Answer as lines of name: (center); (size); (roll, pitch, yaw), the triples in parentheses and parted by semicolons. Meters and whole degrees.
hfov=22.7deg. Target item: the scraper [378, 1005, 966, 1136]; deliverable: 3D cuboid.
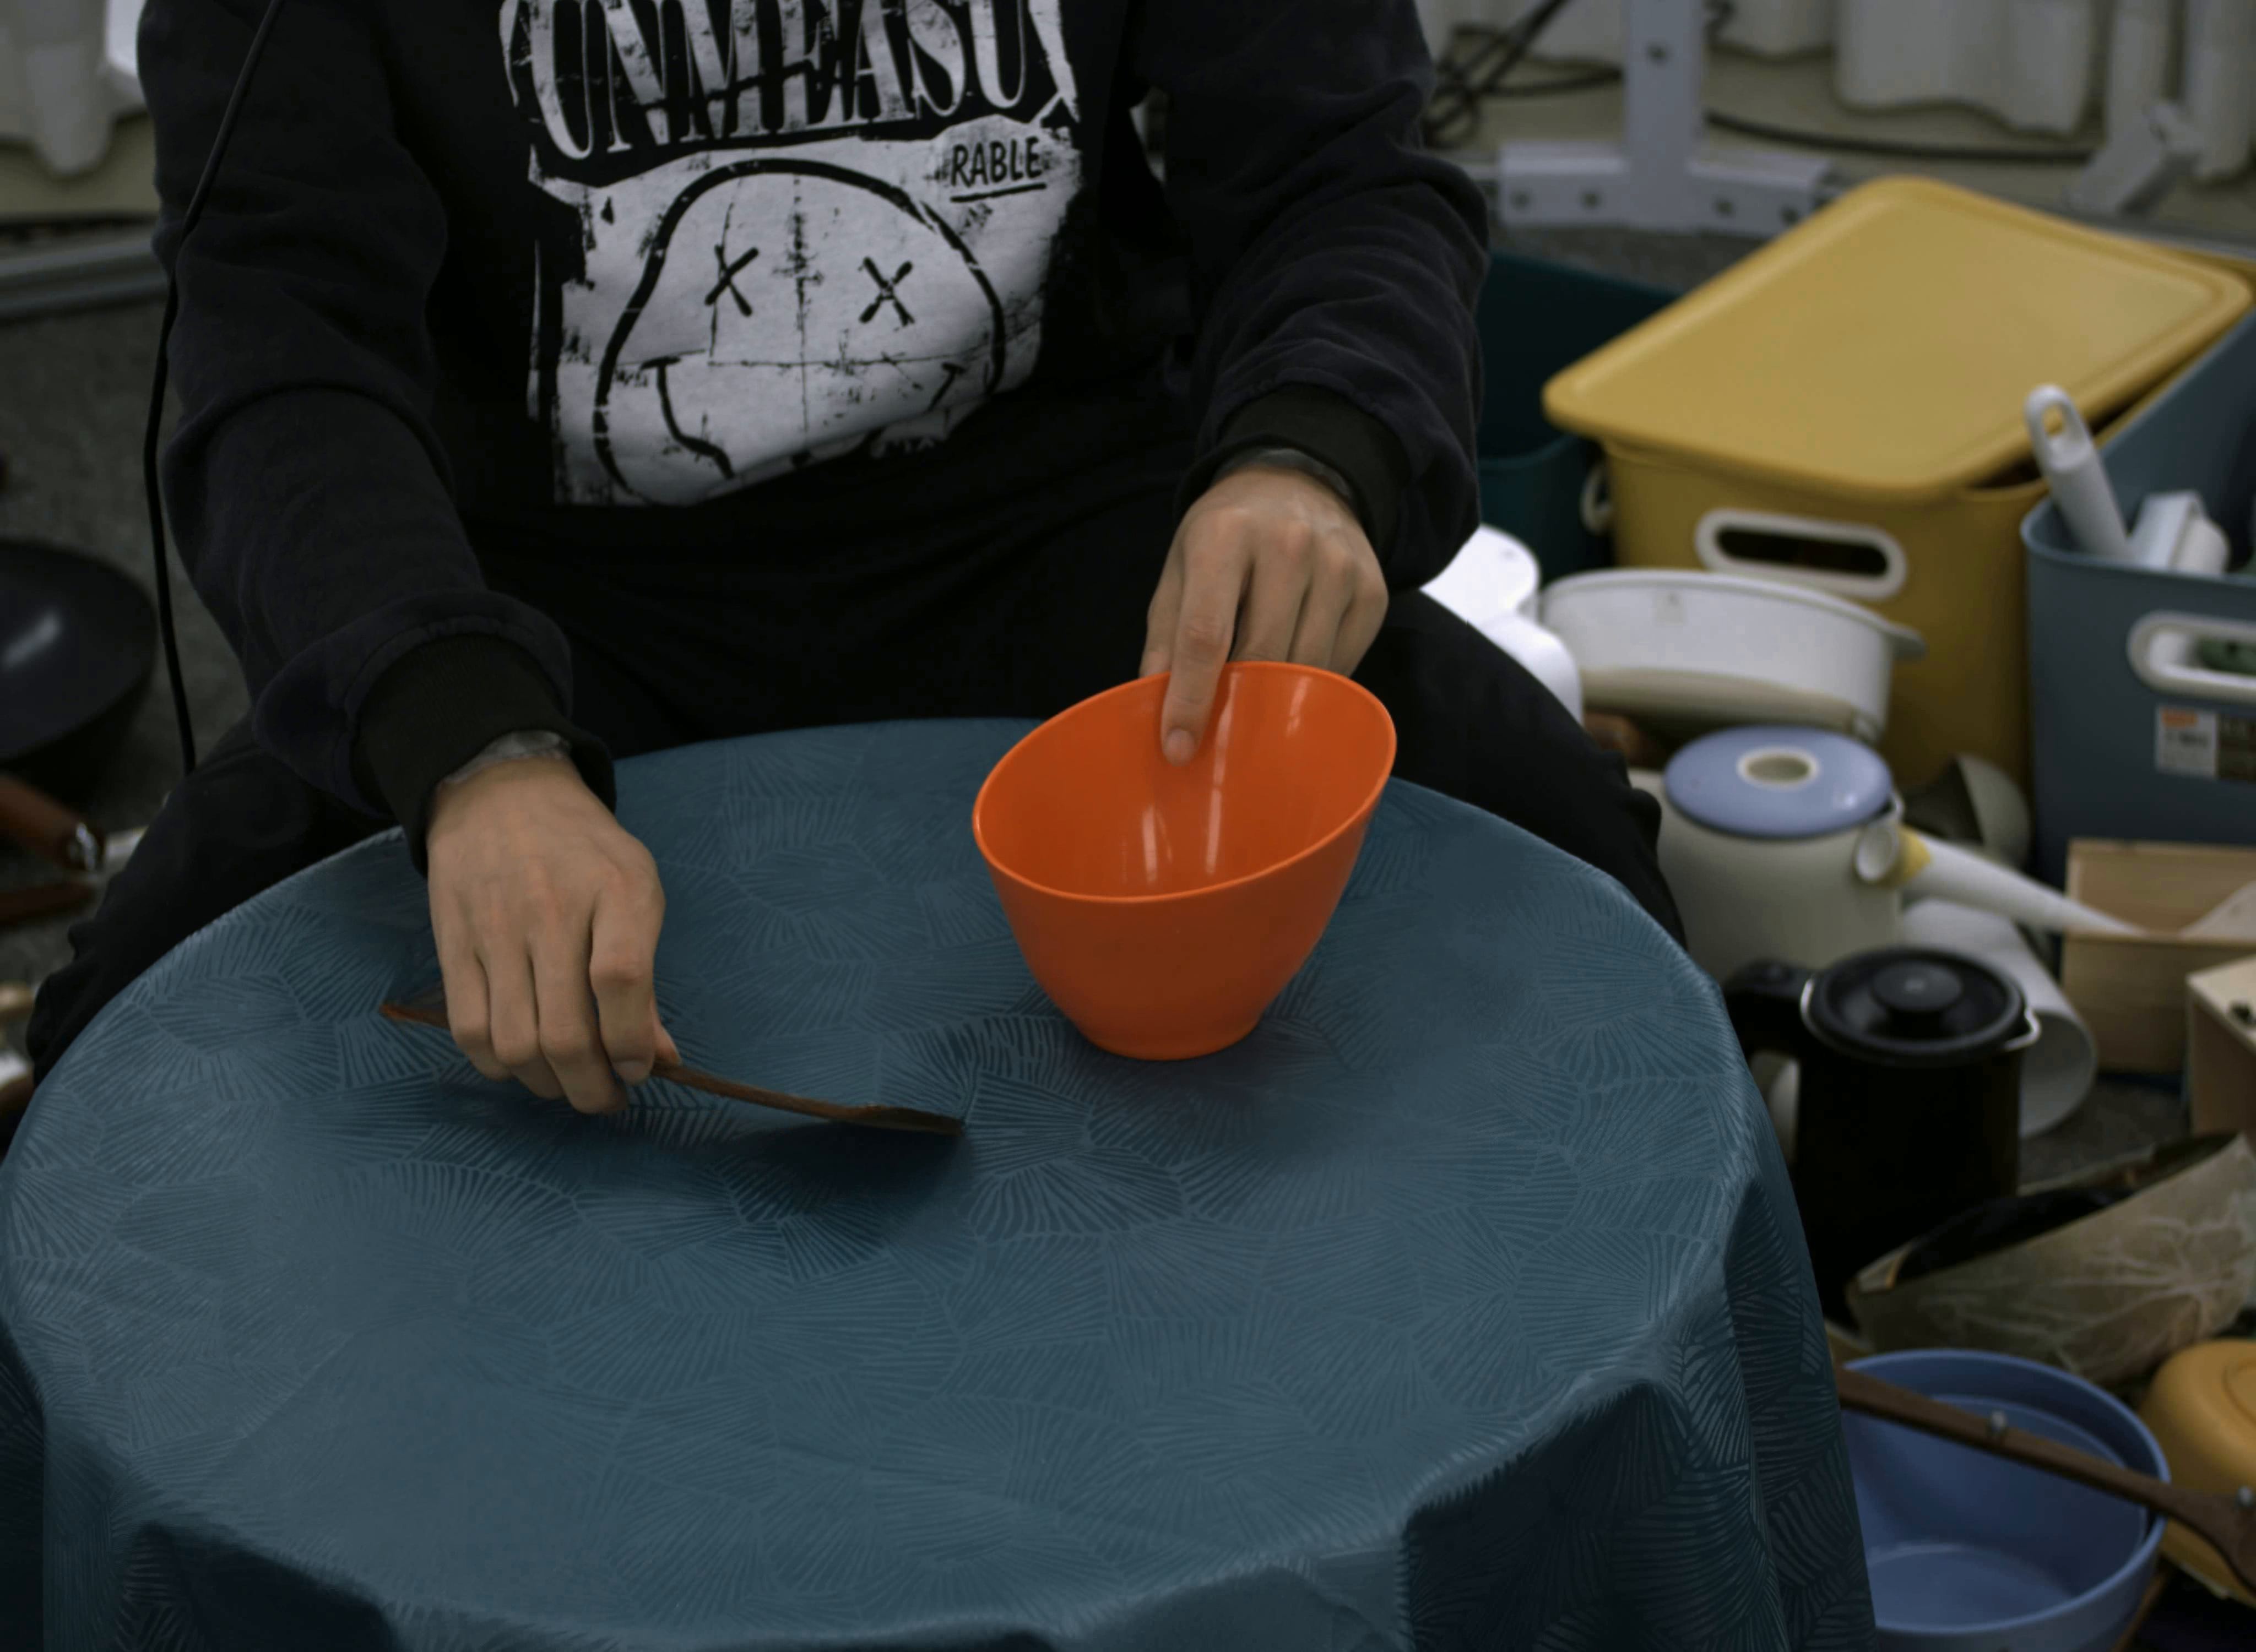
scraper: (-0.158, 0.084, 1.898); (0.210, 0.011, 0.076); (11, -3, 20)

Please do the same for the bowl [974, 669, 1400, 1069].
bowl: (0.022, 0.021, 1.945); (0.147, 0.103, 0.150); (-2, 28, 1)
